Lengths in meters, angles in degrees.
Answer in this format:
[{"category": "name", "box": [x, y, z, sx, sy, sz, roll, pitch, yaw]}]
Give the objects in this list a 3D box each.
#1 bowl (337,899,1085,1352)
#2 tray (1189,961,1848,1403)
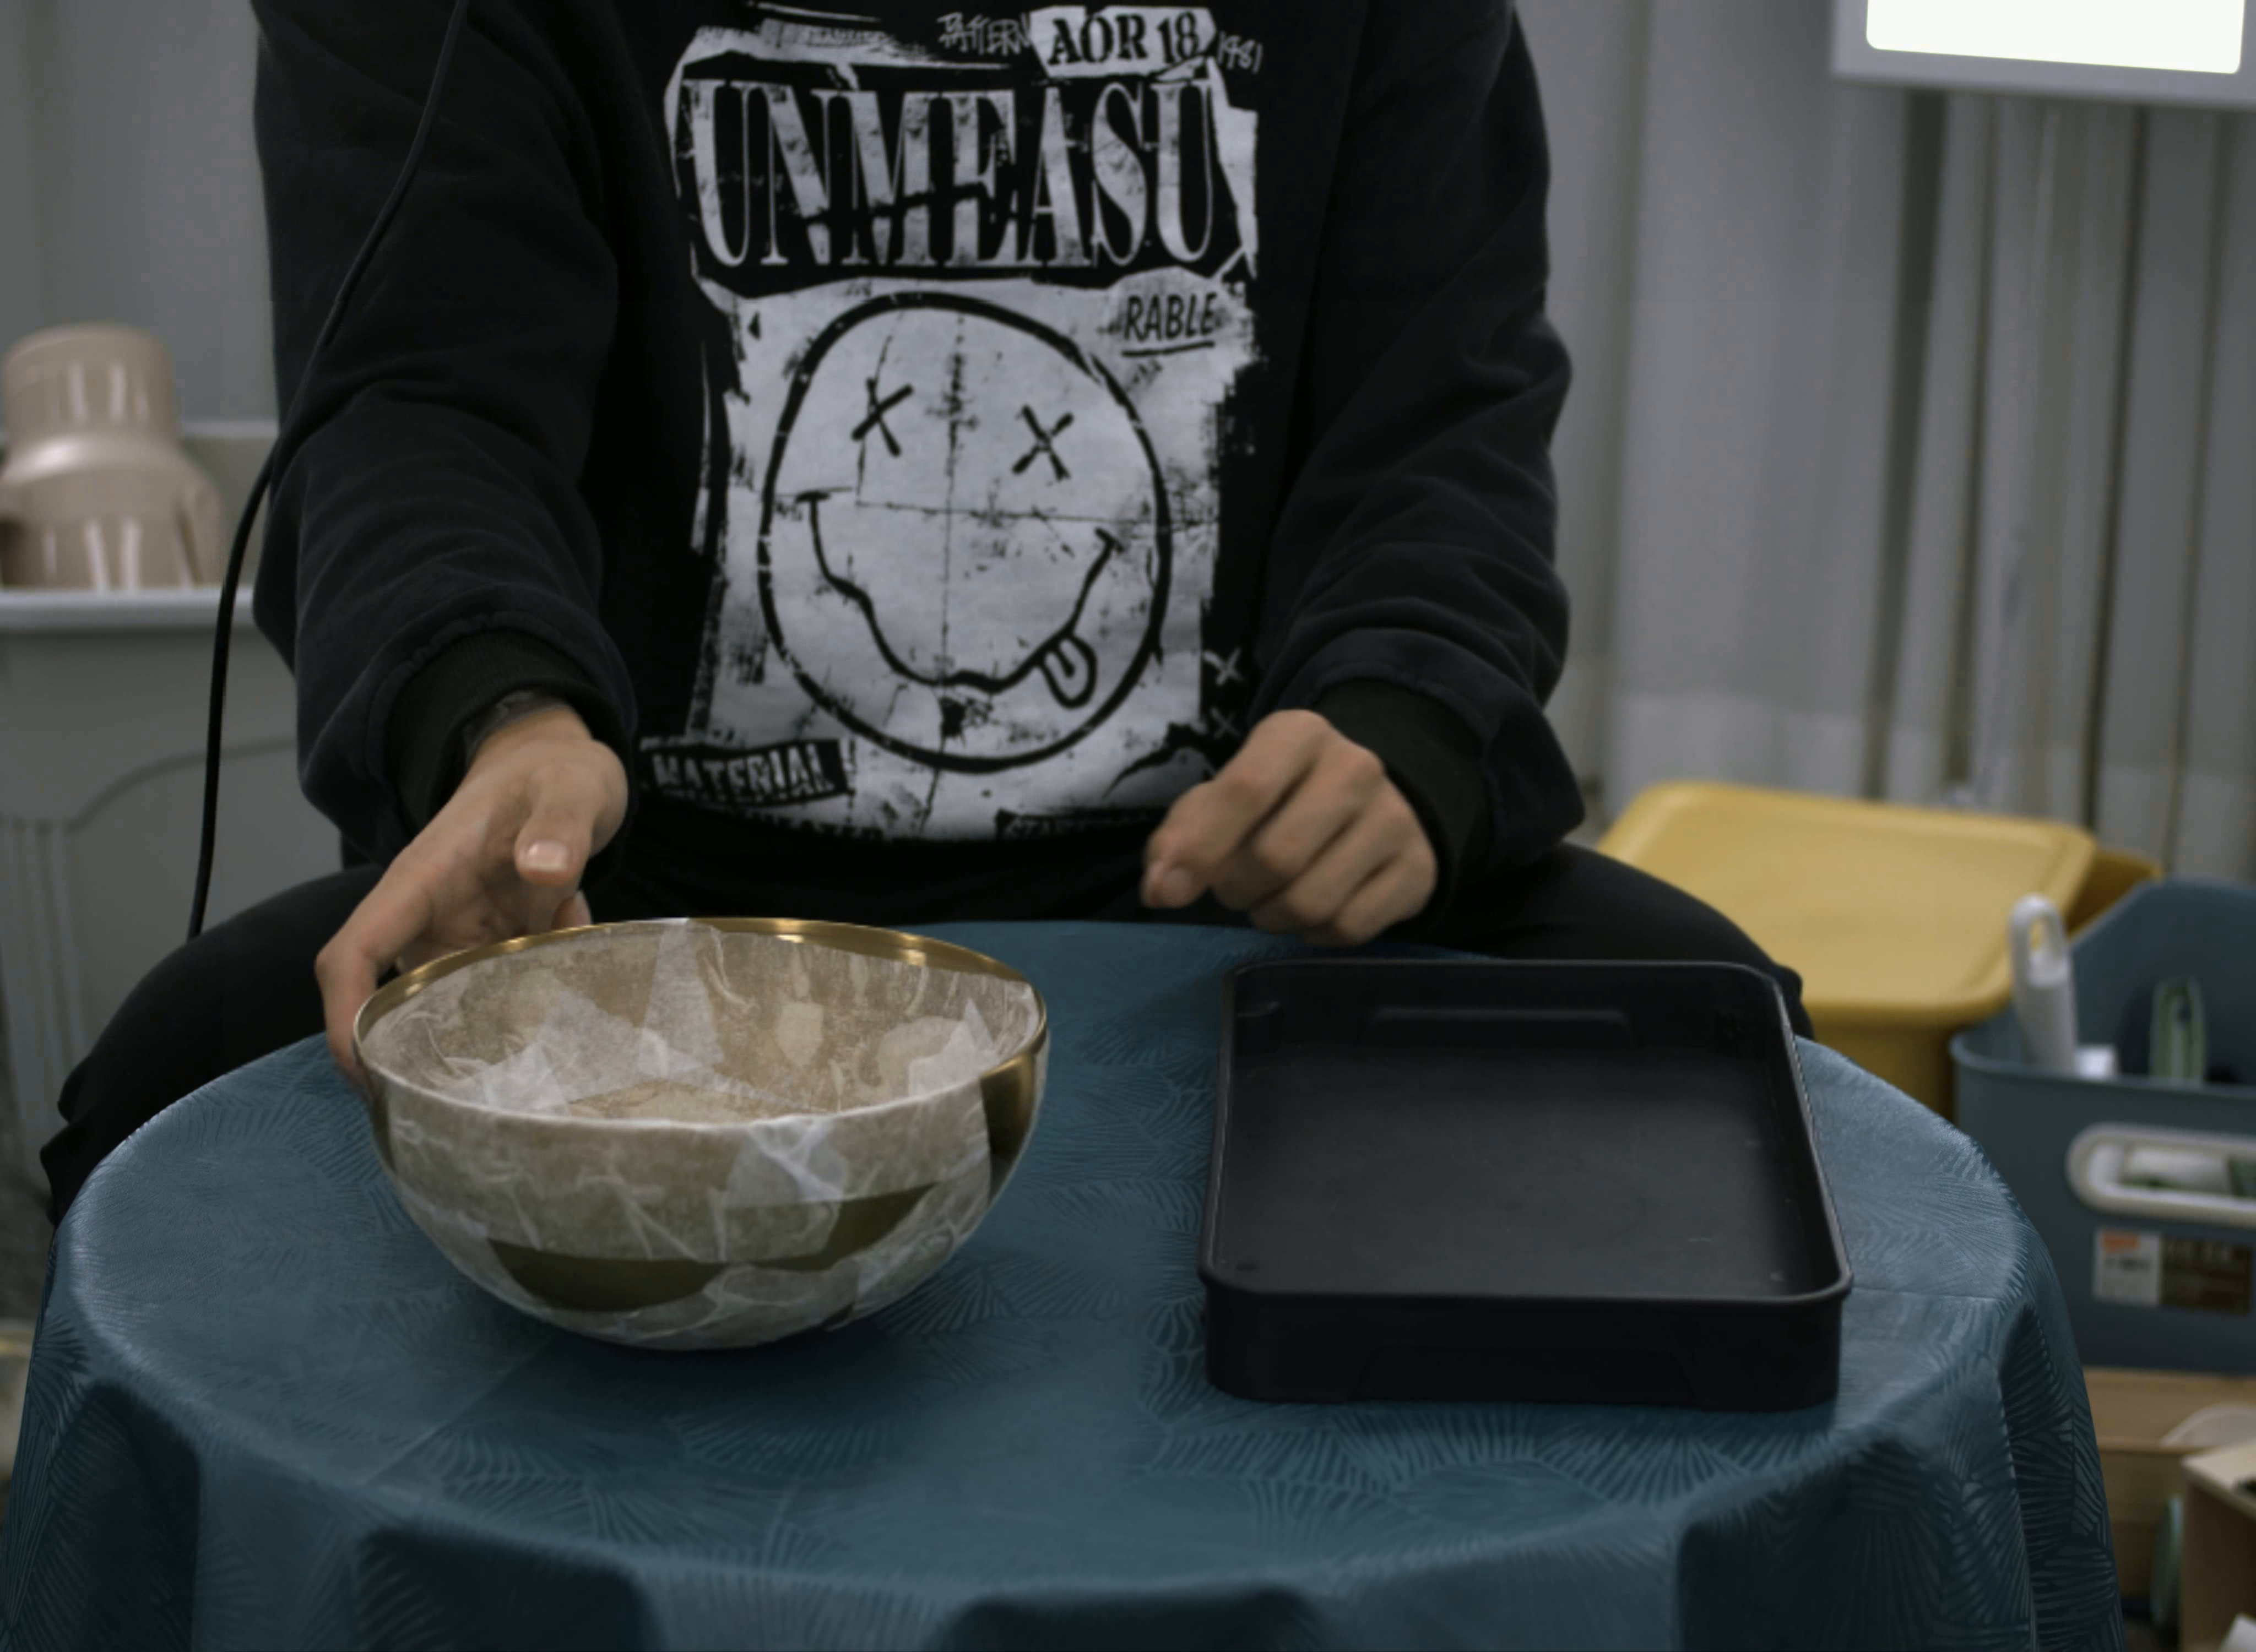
[{"category": "bowl", "box": [-0.119, 0.095, 1.514, 0.214, 0.095, 0.213, -1, 16, 1]}, {"category": "tray", "box": [0.116, 0.102, 1.598, 0.183, 0.037, 0.316, 0, 15, 3]}]
